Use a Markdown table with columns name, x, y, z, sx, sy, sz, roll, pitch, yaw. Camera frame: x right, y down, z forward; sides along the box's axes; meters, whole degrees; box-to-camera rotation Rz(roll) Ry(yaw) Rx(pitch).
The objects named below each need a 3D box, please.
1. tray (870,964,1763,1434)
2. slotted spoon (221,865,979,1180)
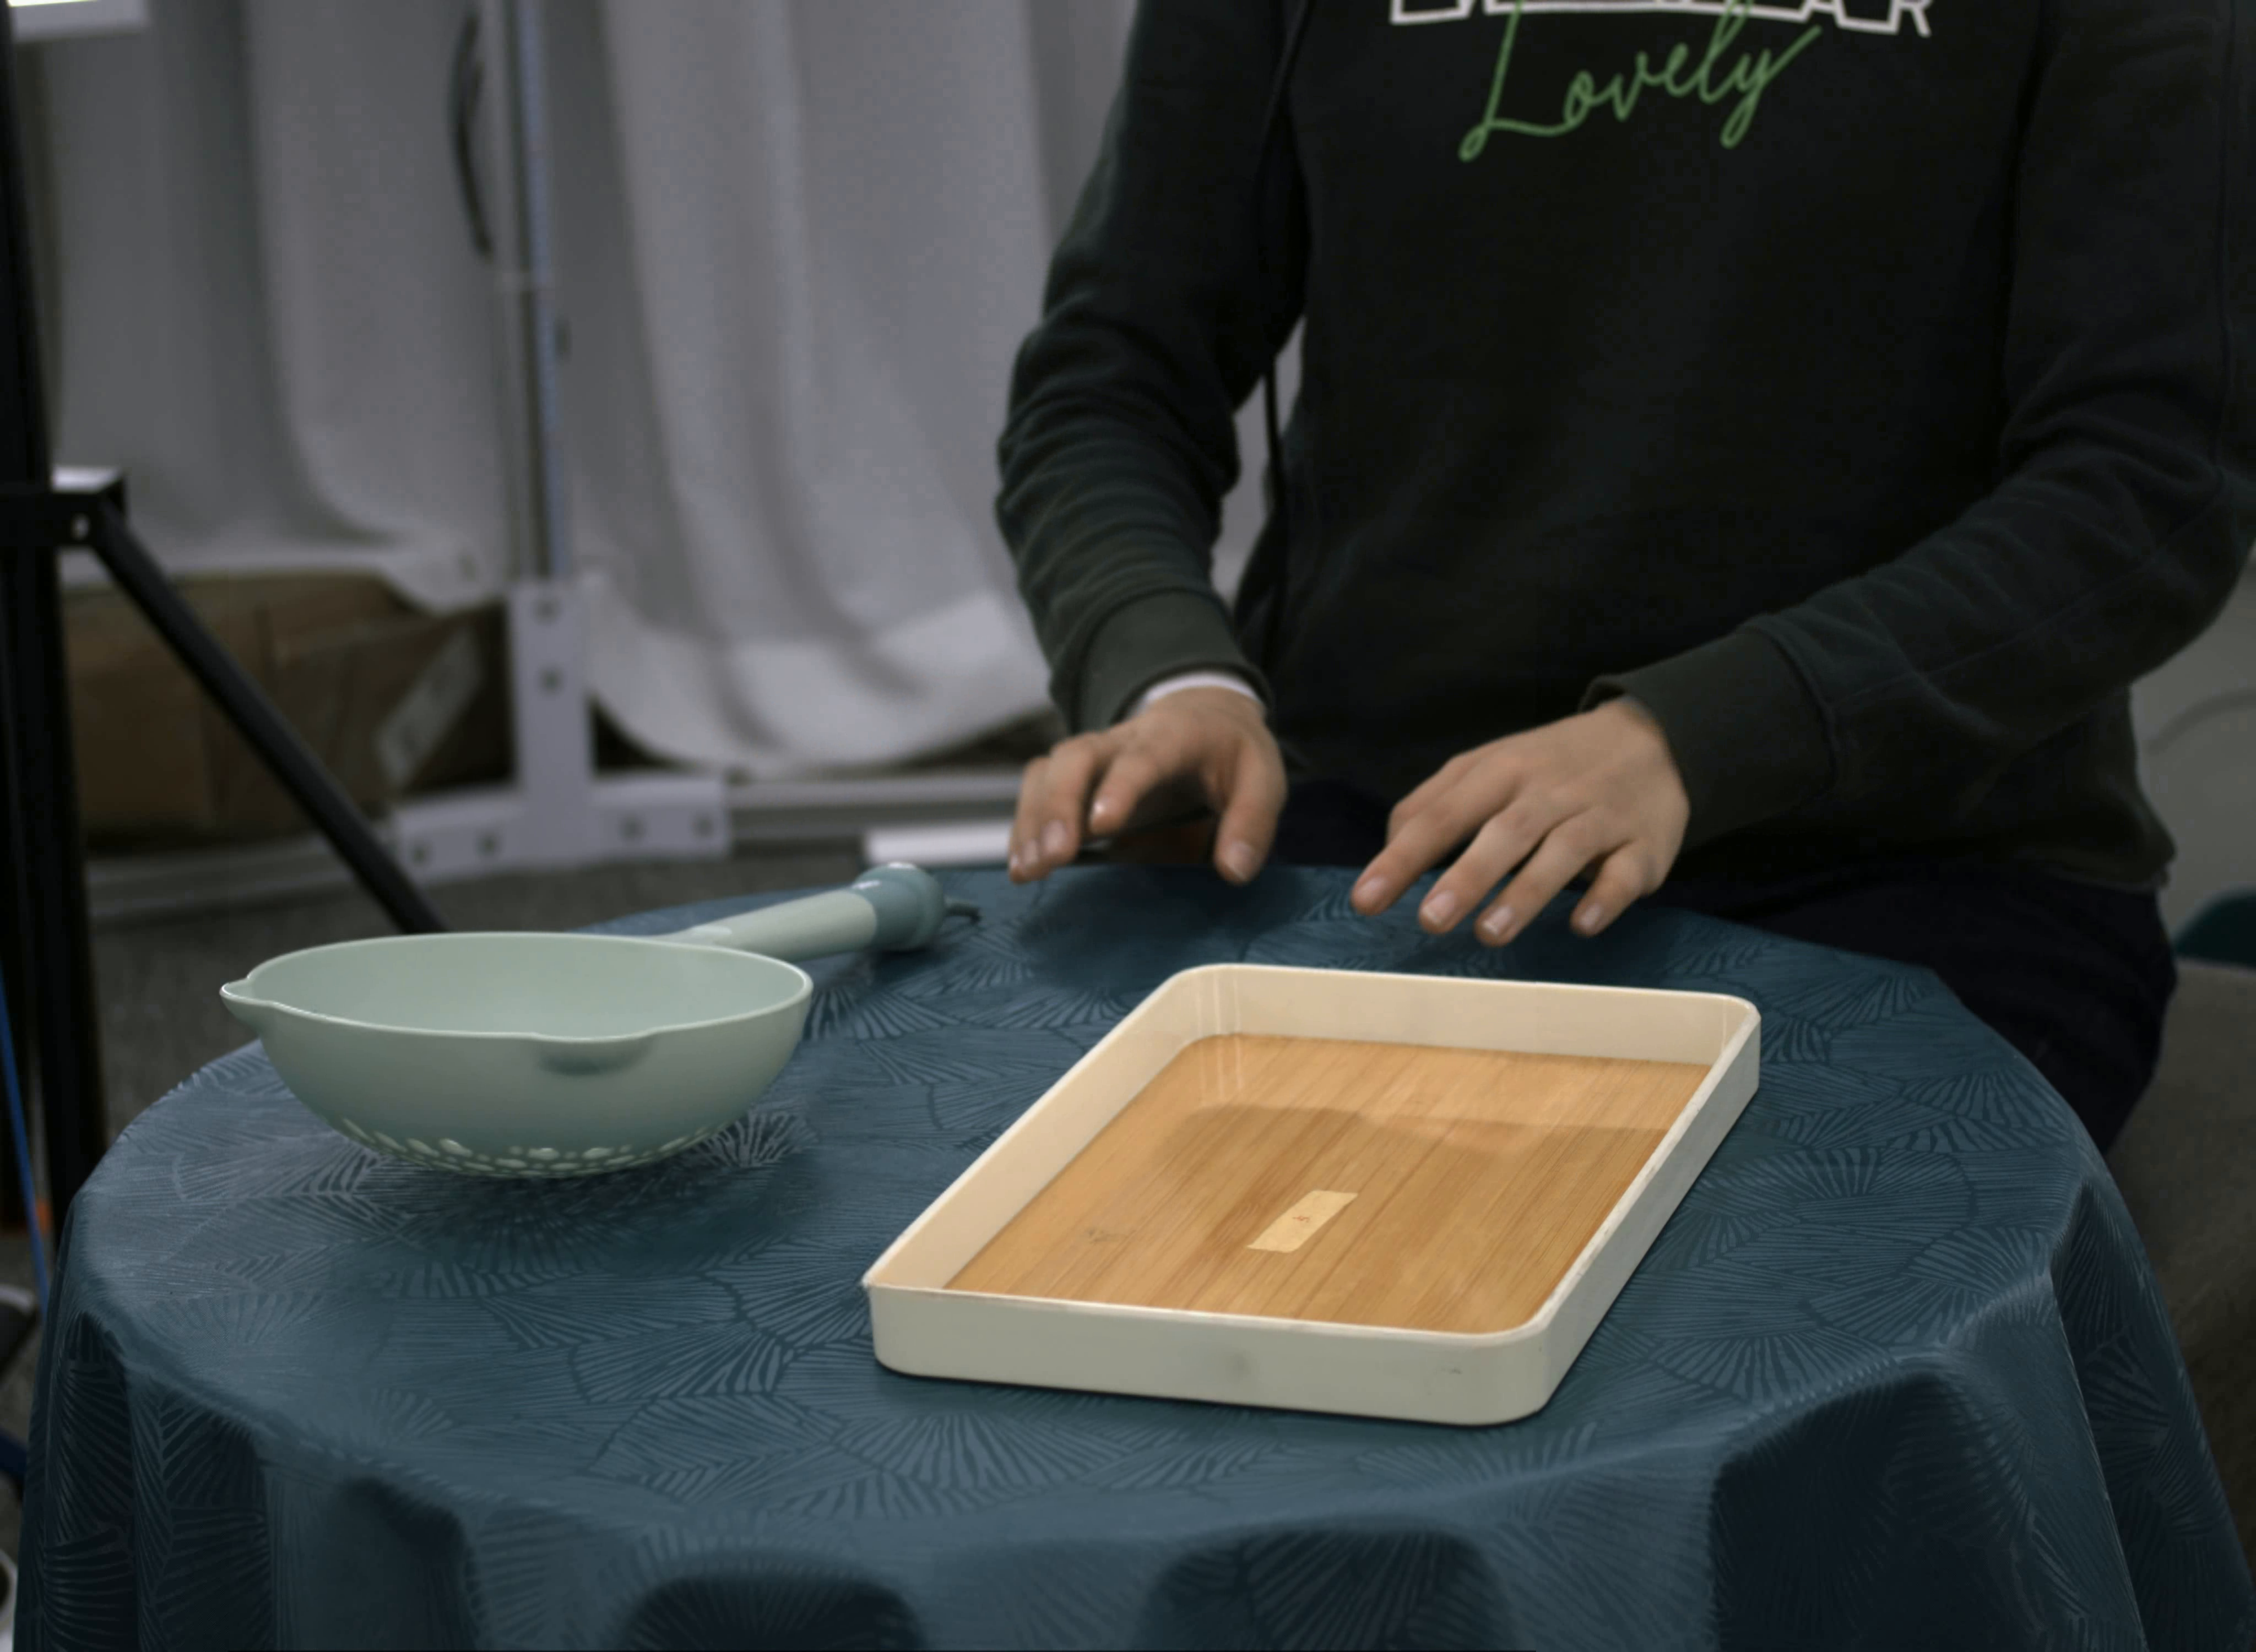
| name | x | y | z | sx | sy | sz | roll | pitch | yaw |
| --- | --- | --- | --- | --- | --- | --- | --- | --- | --- |
| tray | 0.062 | 0.101 | 1.524 | 0.194 | 0.027 | 0.297 | 3 | 17 | 19 |
| slotted spoon | -0.136 | 0.046 | 1.680 | 0.172 | 0.075 | 0.353 | 6 | 18 | 26 |
